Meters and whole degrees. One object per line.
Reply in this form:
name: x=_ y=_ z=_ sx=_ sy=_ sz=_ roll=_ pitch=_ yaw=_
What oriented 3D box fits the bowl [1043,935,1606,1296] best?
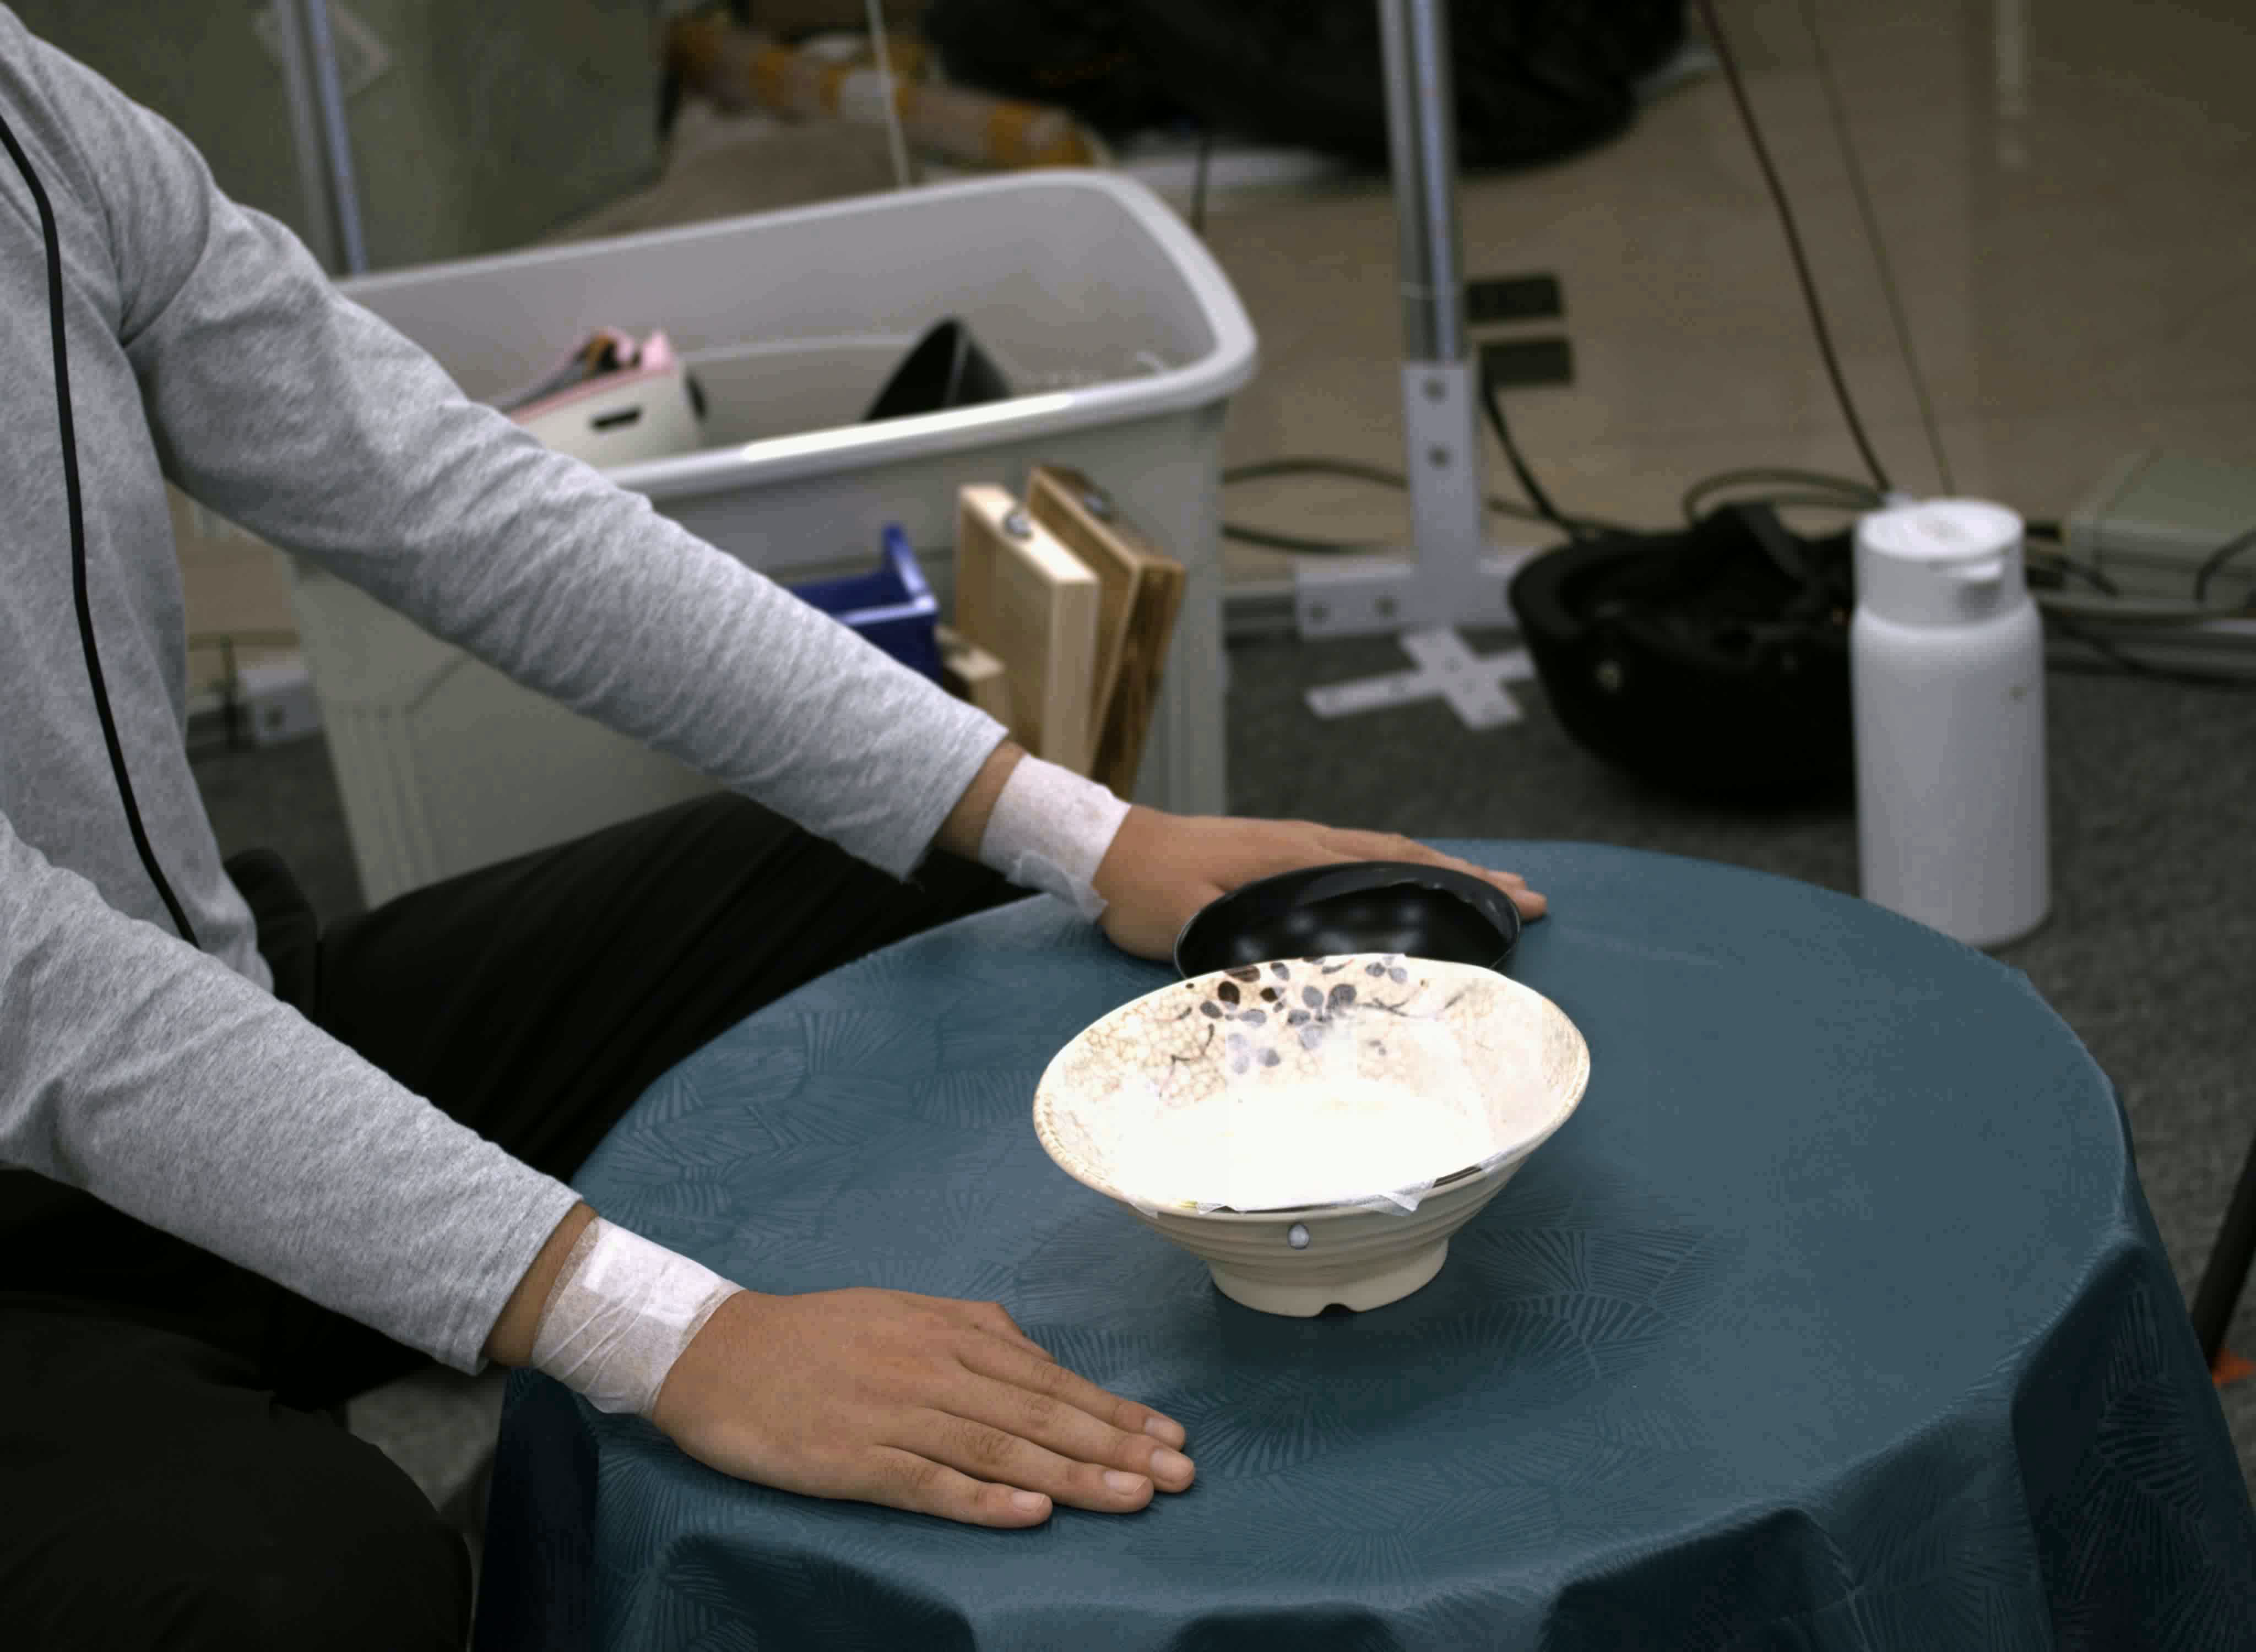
bowl: x=0.069 y=0.117 z=2.058 sx=0.203 sy=0.079 sz=0.201 roll=2 pitch=25 yaw=-1

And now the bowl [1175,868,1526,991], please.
bowl: x=0.089 y=0.065 z=2.230 sx=0.140 sy=0.050 sz=0.138 roll=-6 pitch=22 yaw=3
